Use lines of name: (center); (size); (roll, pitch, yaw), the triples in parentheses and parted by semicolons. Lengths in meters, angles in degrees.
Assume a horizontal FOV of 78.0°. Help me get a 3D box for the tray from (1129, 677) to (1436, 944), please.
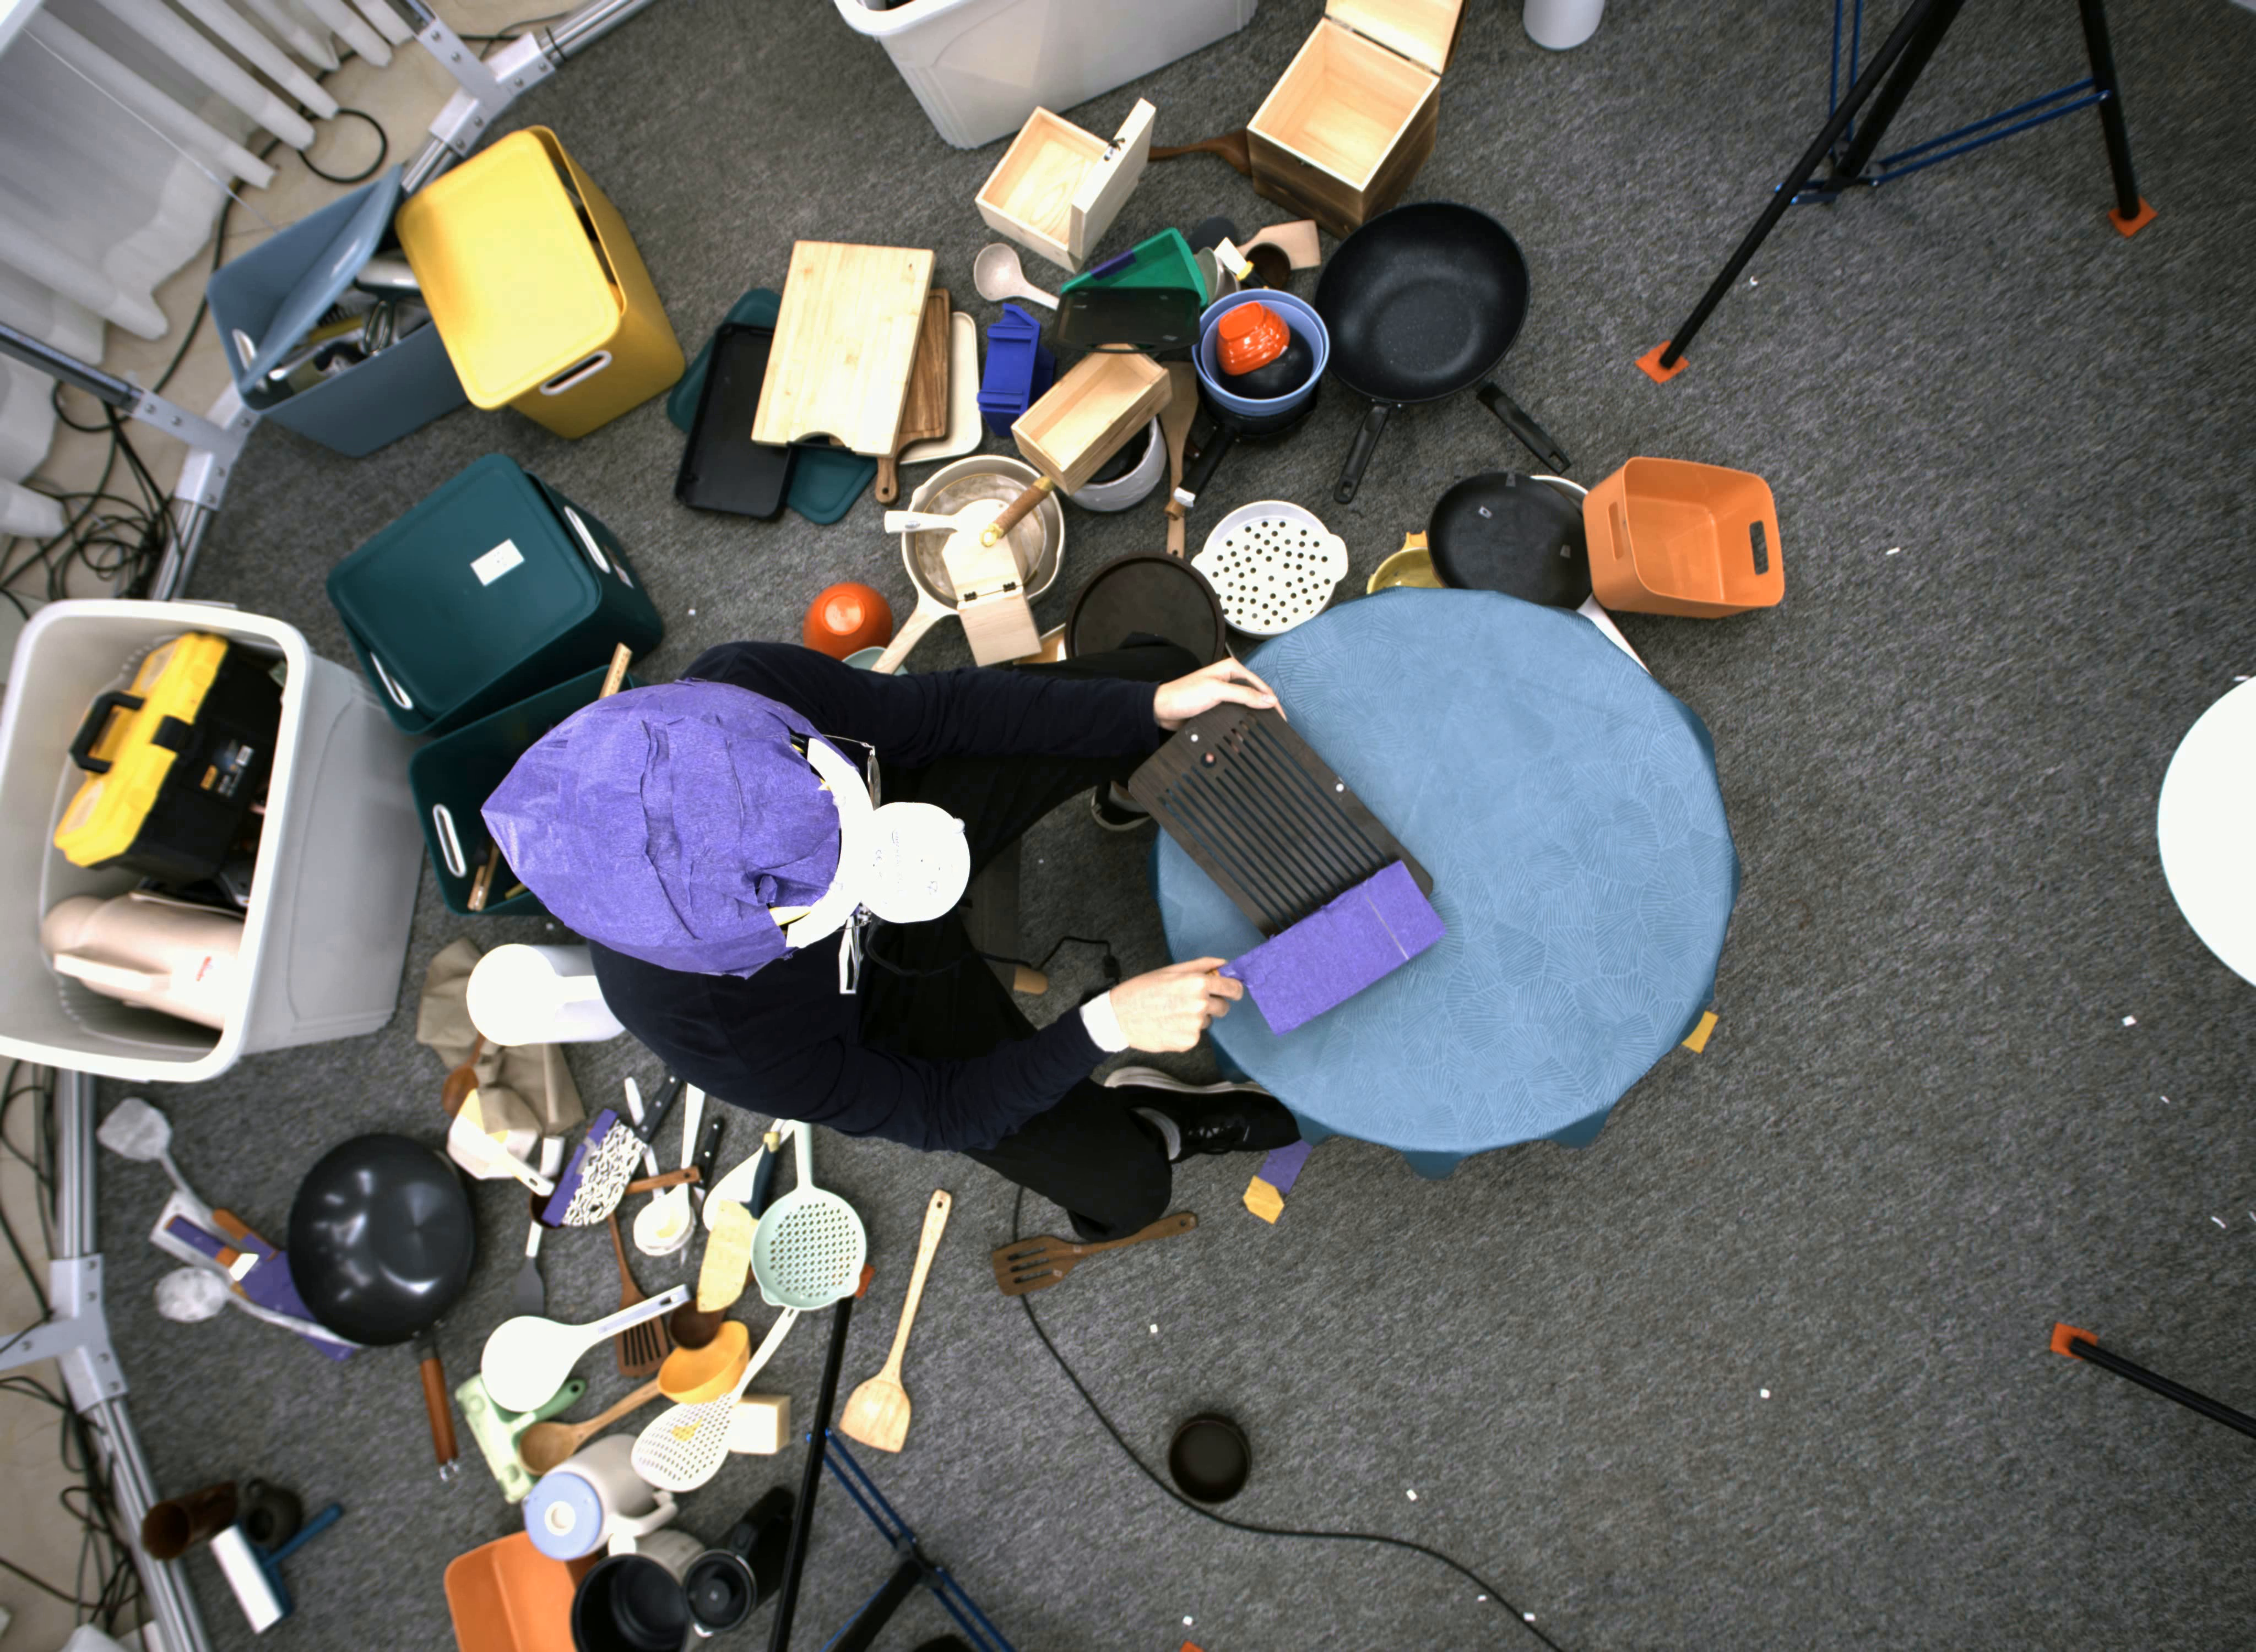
tray: (0.161, 0.005, 1.447); (0.171, 0.018, 0.306); (-43, 92, 7)

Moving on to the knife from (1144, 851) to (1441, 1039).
knife: (0.171, 0.145, 1.396); (0.315, 0.032, 0.103); (-31, 84, -3)
